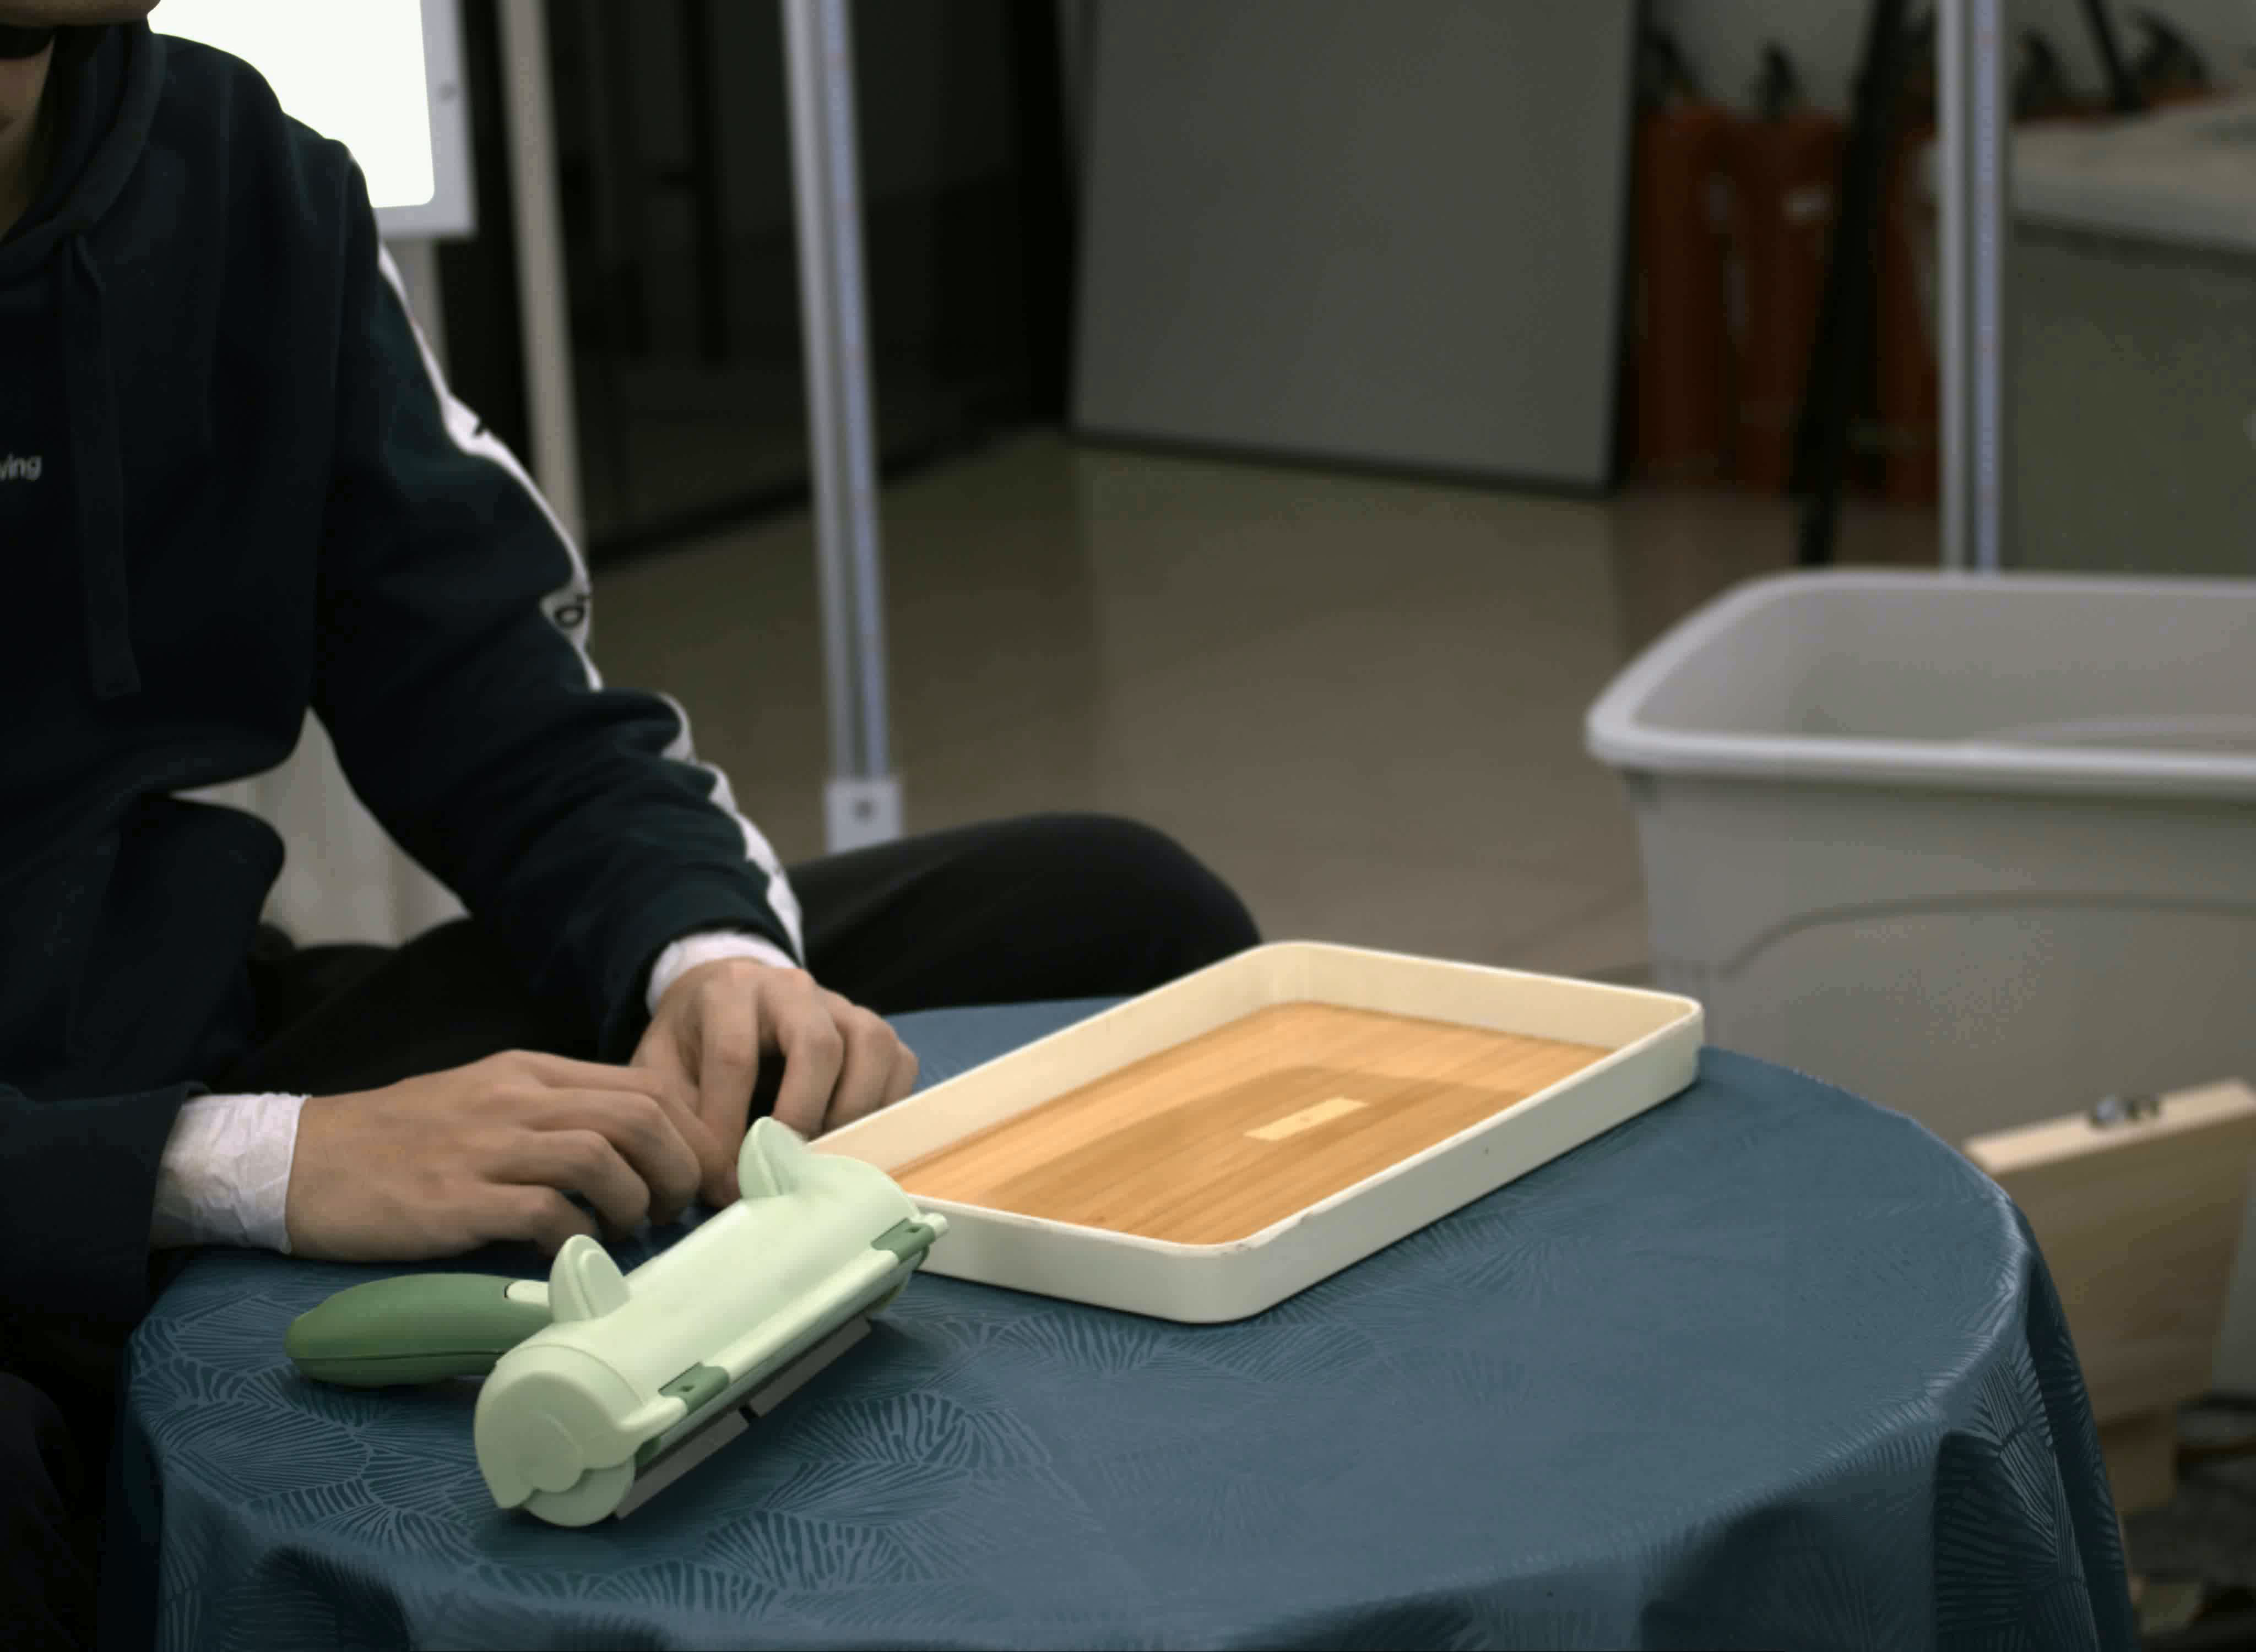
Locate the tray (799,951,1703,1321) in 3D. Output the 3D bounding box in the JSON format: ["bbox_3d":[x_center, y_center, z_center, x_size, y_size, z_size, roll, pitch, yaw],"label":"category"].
[{"bbox_3d":[0.043,0.099,1.795,0.193,0.028,0.295,6,17,37],"label":"tray"}]

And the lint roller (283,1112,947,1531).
[{"bbox_3d":[-0.173,0.135,1.604,0.183,0.083,0.196,7,17,24],"label":"lint roller"}]
